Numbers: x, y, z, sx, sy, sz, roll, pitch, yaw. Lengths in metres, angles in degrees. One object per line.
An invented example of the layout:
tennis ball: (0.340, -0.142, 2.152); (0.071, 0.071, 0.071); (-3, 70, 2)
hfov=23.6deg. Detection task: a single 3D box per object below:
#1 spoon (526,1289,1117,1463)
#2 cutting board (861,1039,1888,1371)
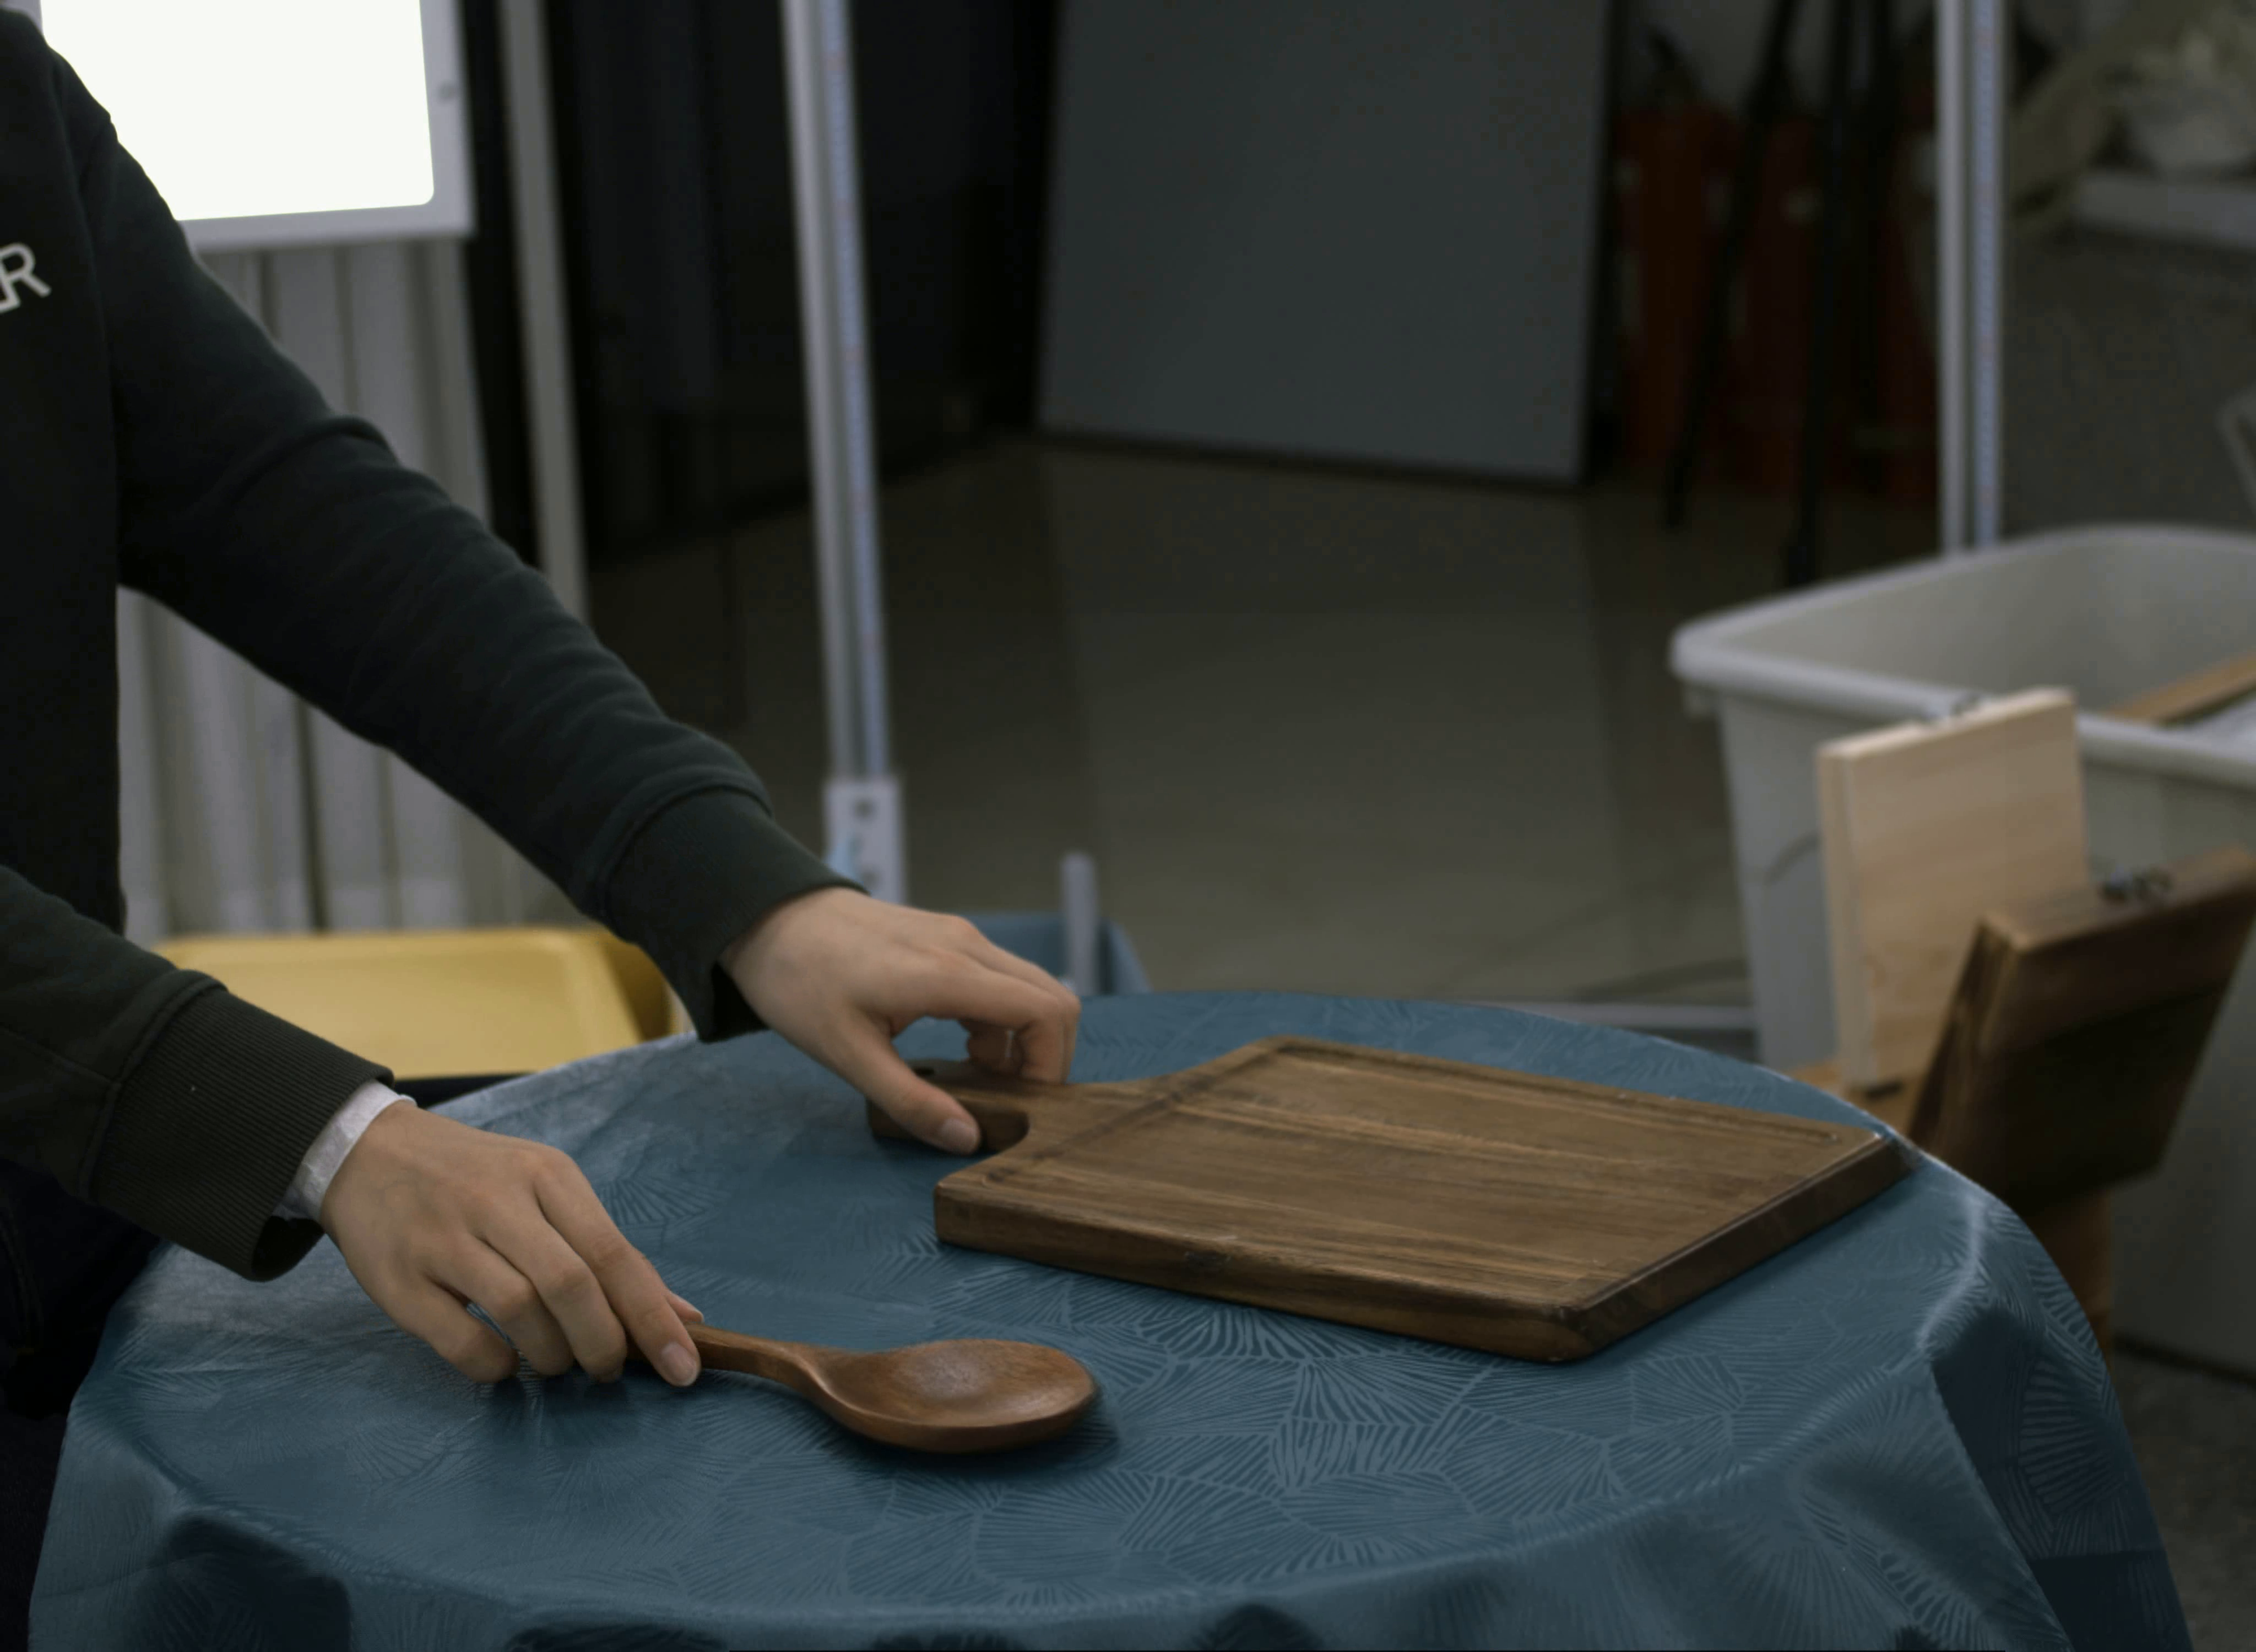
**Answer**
spoon: (-0.095, 0.161, 1.600); (0.217, 0.017, 0.074); (8, 20, 37)
cutting board: (0.052, 0.112, 1.755); (0.355, 0.023, 0.197); (7, 18, 38)
